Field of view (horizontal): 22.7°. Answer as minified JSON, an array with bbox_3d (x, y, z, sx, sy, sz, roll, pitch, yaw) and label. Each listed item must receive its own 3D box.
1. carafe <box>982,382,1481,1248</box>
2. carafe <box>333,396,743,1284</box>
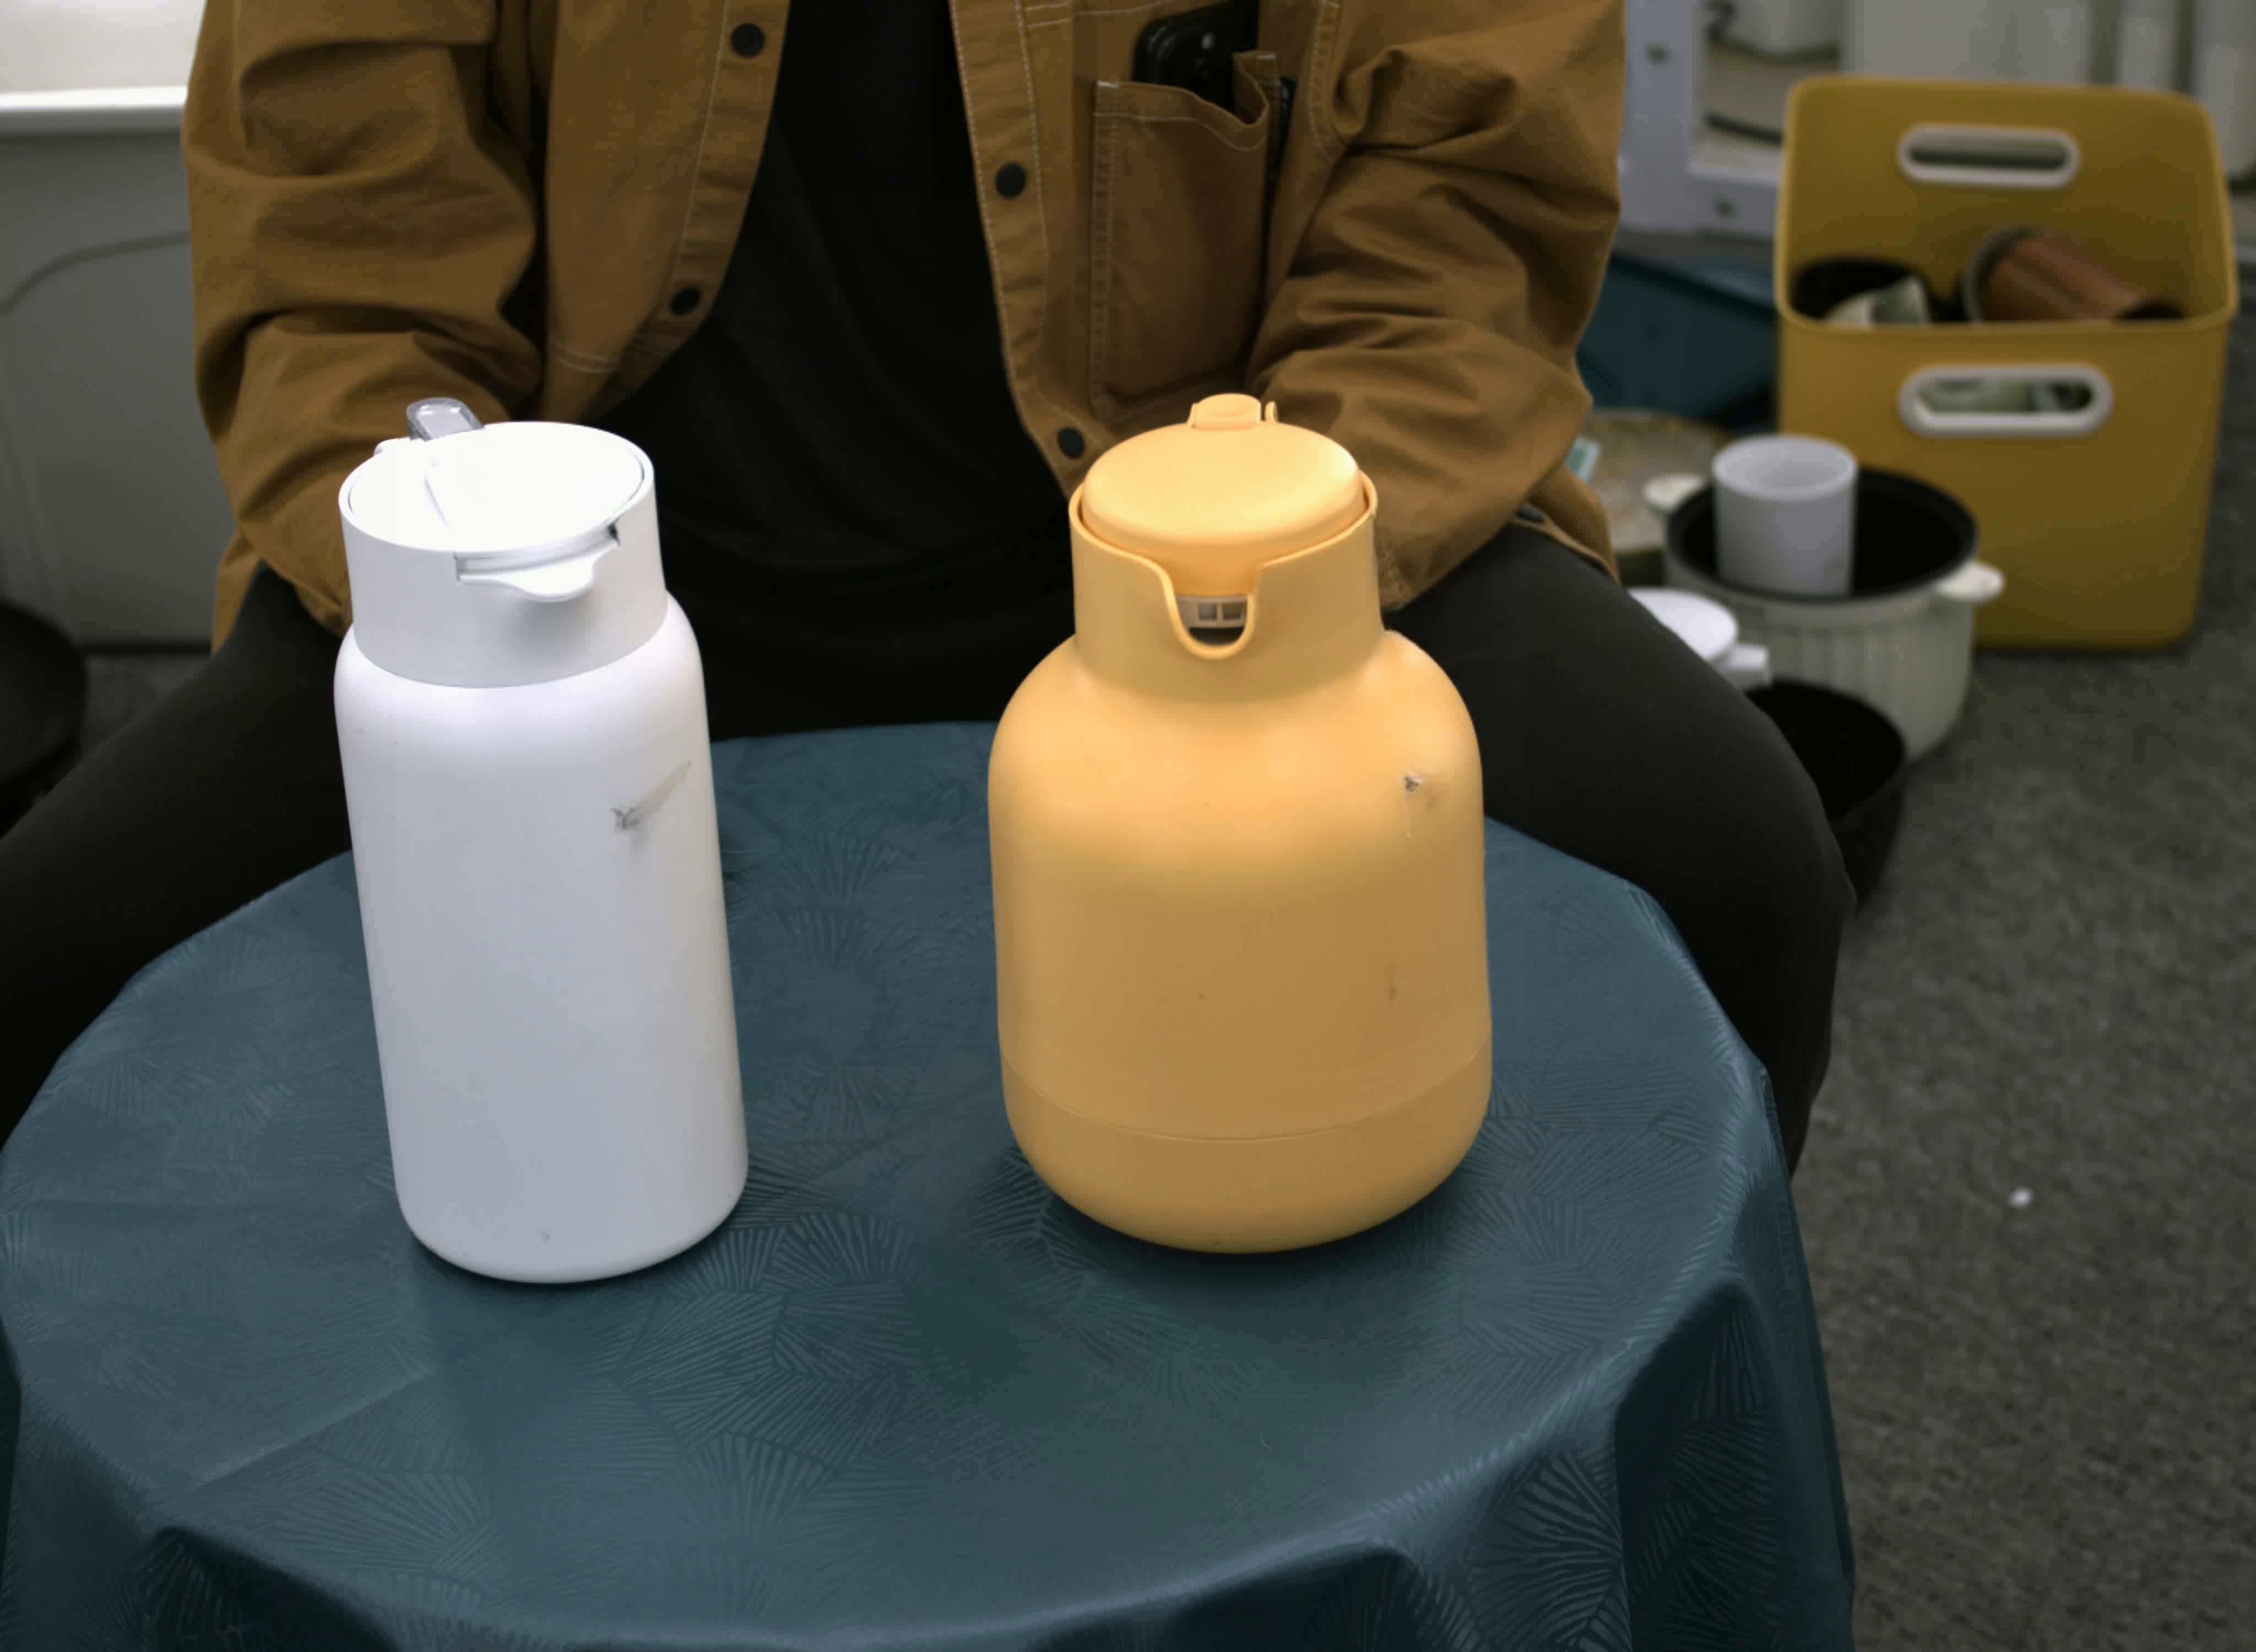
[{"bbox_3d":[0.036,-0.013,1.833,0.162,0.257,0.206,3,28,5],"label":"carafe"},{"bbox_3d":[-0.199,0.001,1.824,0.124,0.266,0.174,-15,28,-19],"label":"carafe"}]
